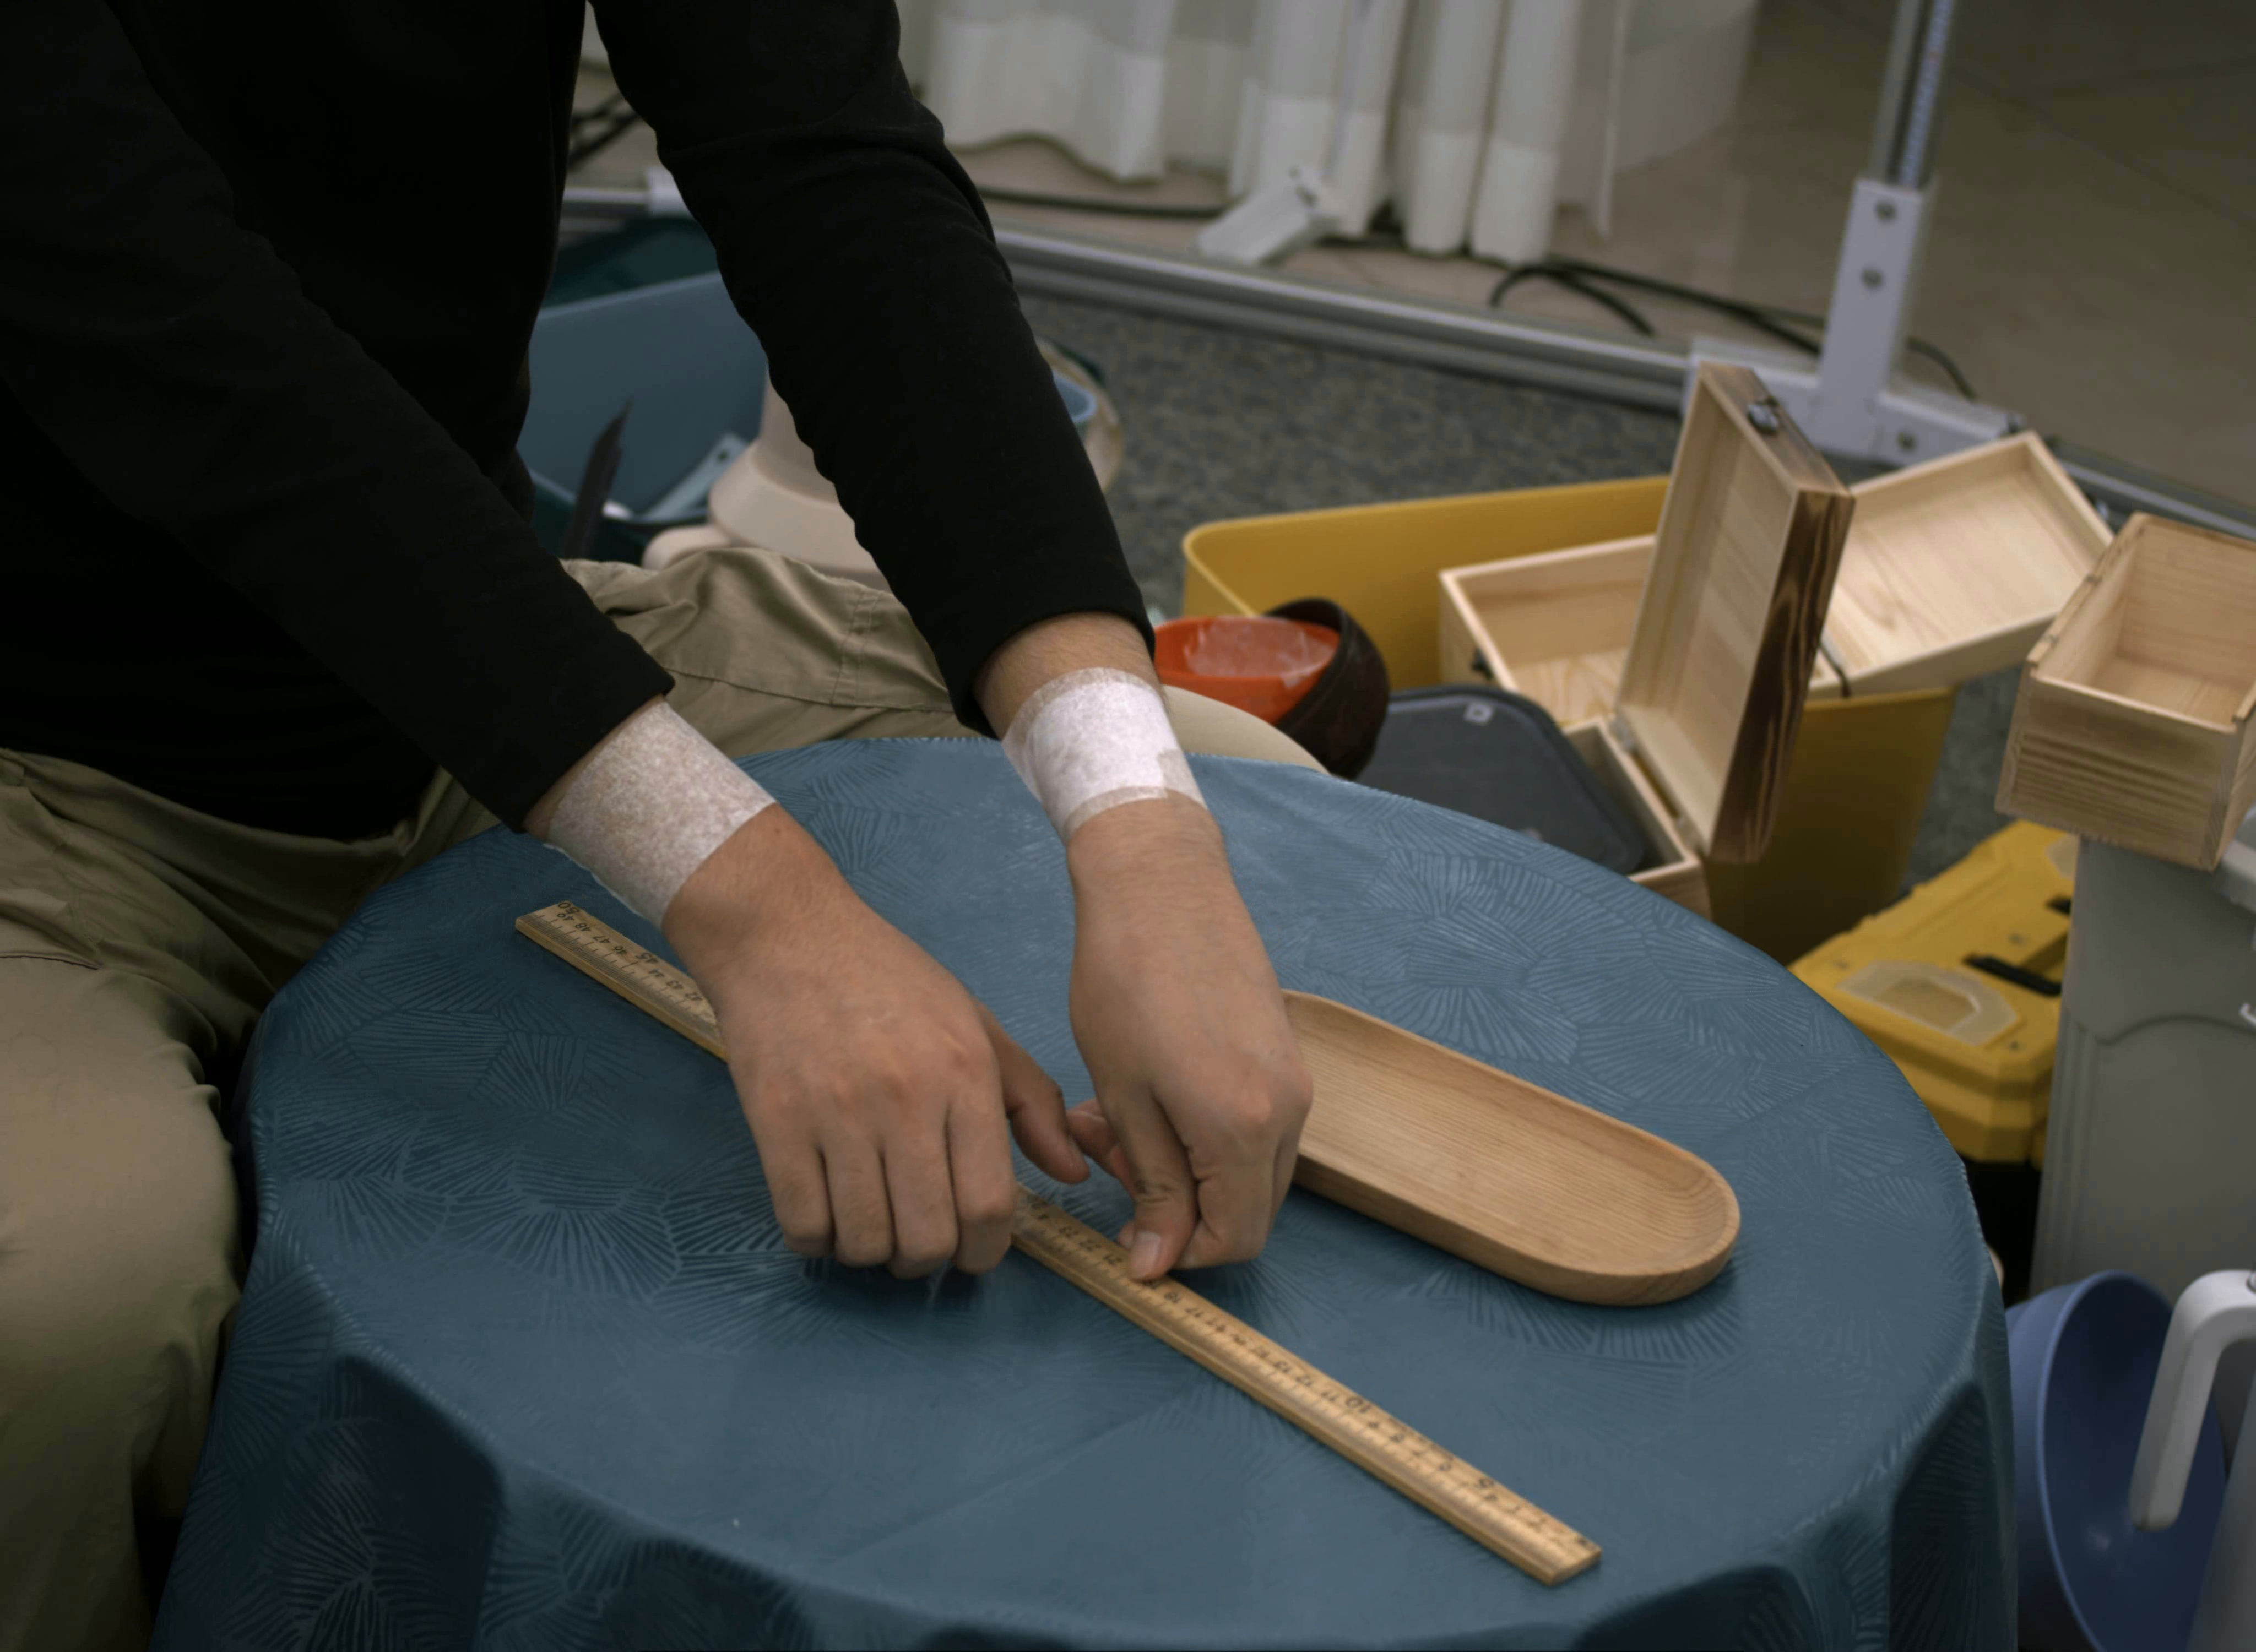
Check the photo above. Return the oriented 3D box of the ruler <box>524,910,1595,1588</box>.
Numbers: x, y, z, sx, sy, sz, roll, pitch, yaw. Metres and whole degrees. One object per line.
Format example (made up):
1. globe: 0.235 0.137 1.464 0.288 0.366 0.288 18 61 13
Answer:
1. ruler: -0.037 0.131 1.775 0.026 0.006 0.504 -13 32 -43

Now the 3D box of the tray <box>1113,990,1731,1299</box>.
1. tray: 0.099 0.109 1.835 0.232 0.020 0.101 20 28 27
